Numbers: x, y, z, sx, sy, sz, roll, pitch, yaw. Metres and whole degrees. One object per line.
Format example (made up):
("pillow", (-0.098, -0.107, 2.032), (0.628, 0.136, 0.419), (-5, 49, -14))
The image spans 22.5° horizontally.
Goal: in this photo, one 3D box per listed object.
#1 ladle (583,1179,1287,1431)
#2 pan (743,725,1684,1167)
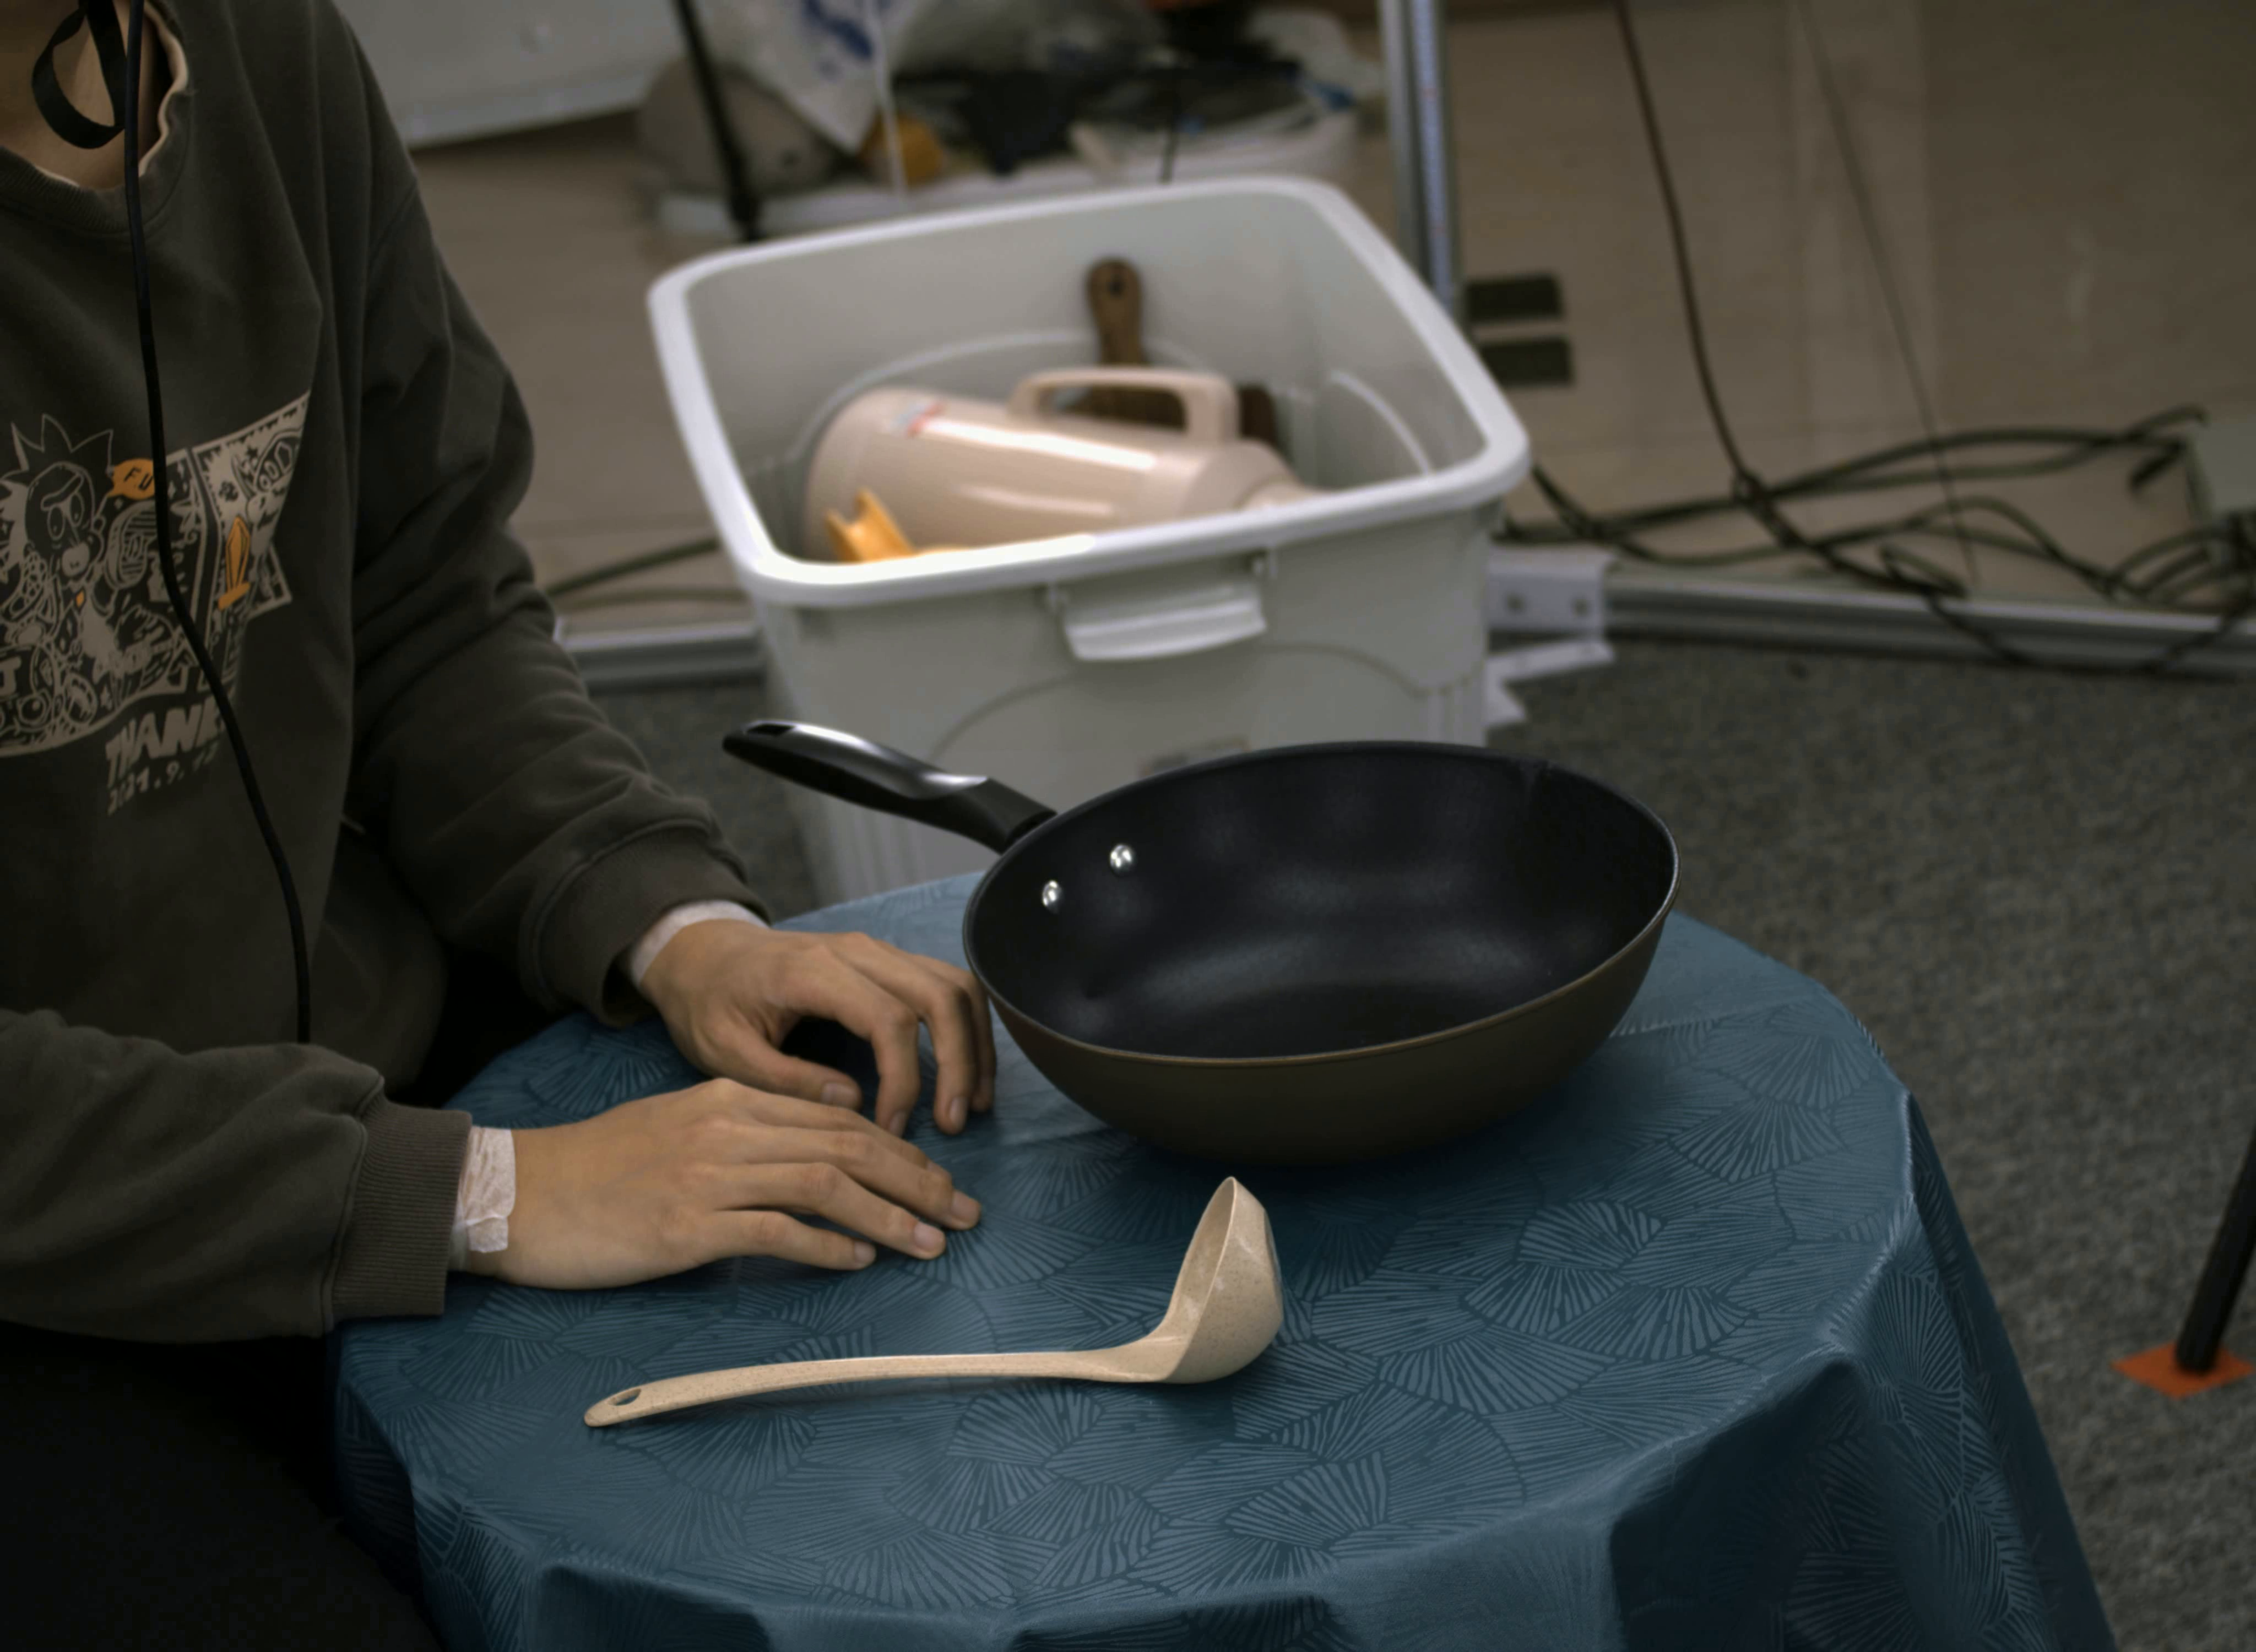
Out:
("ladle", (-0.071, 0.171, 2.009), (0.254, 0.074, 0.071), (-5, 31, 1))
("pan", (0.011, 0.041, 2.254), (0.460, 0.088, 0.285), (15, 33, 41))
